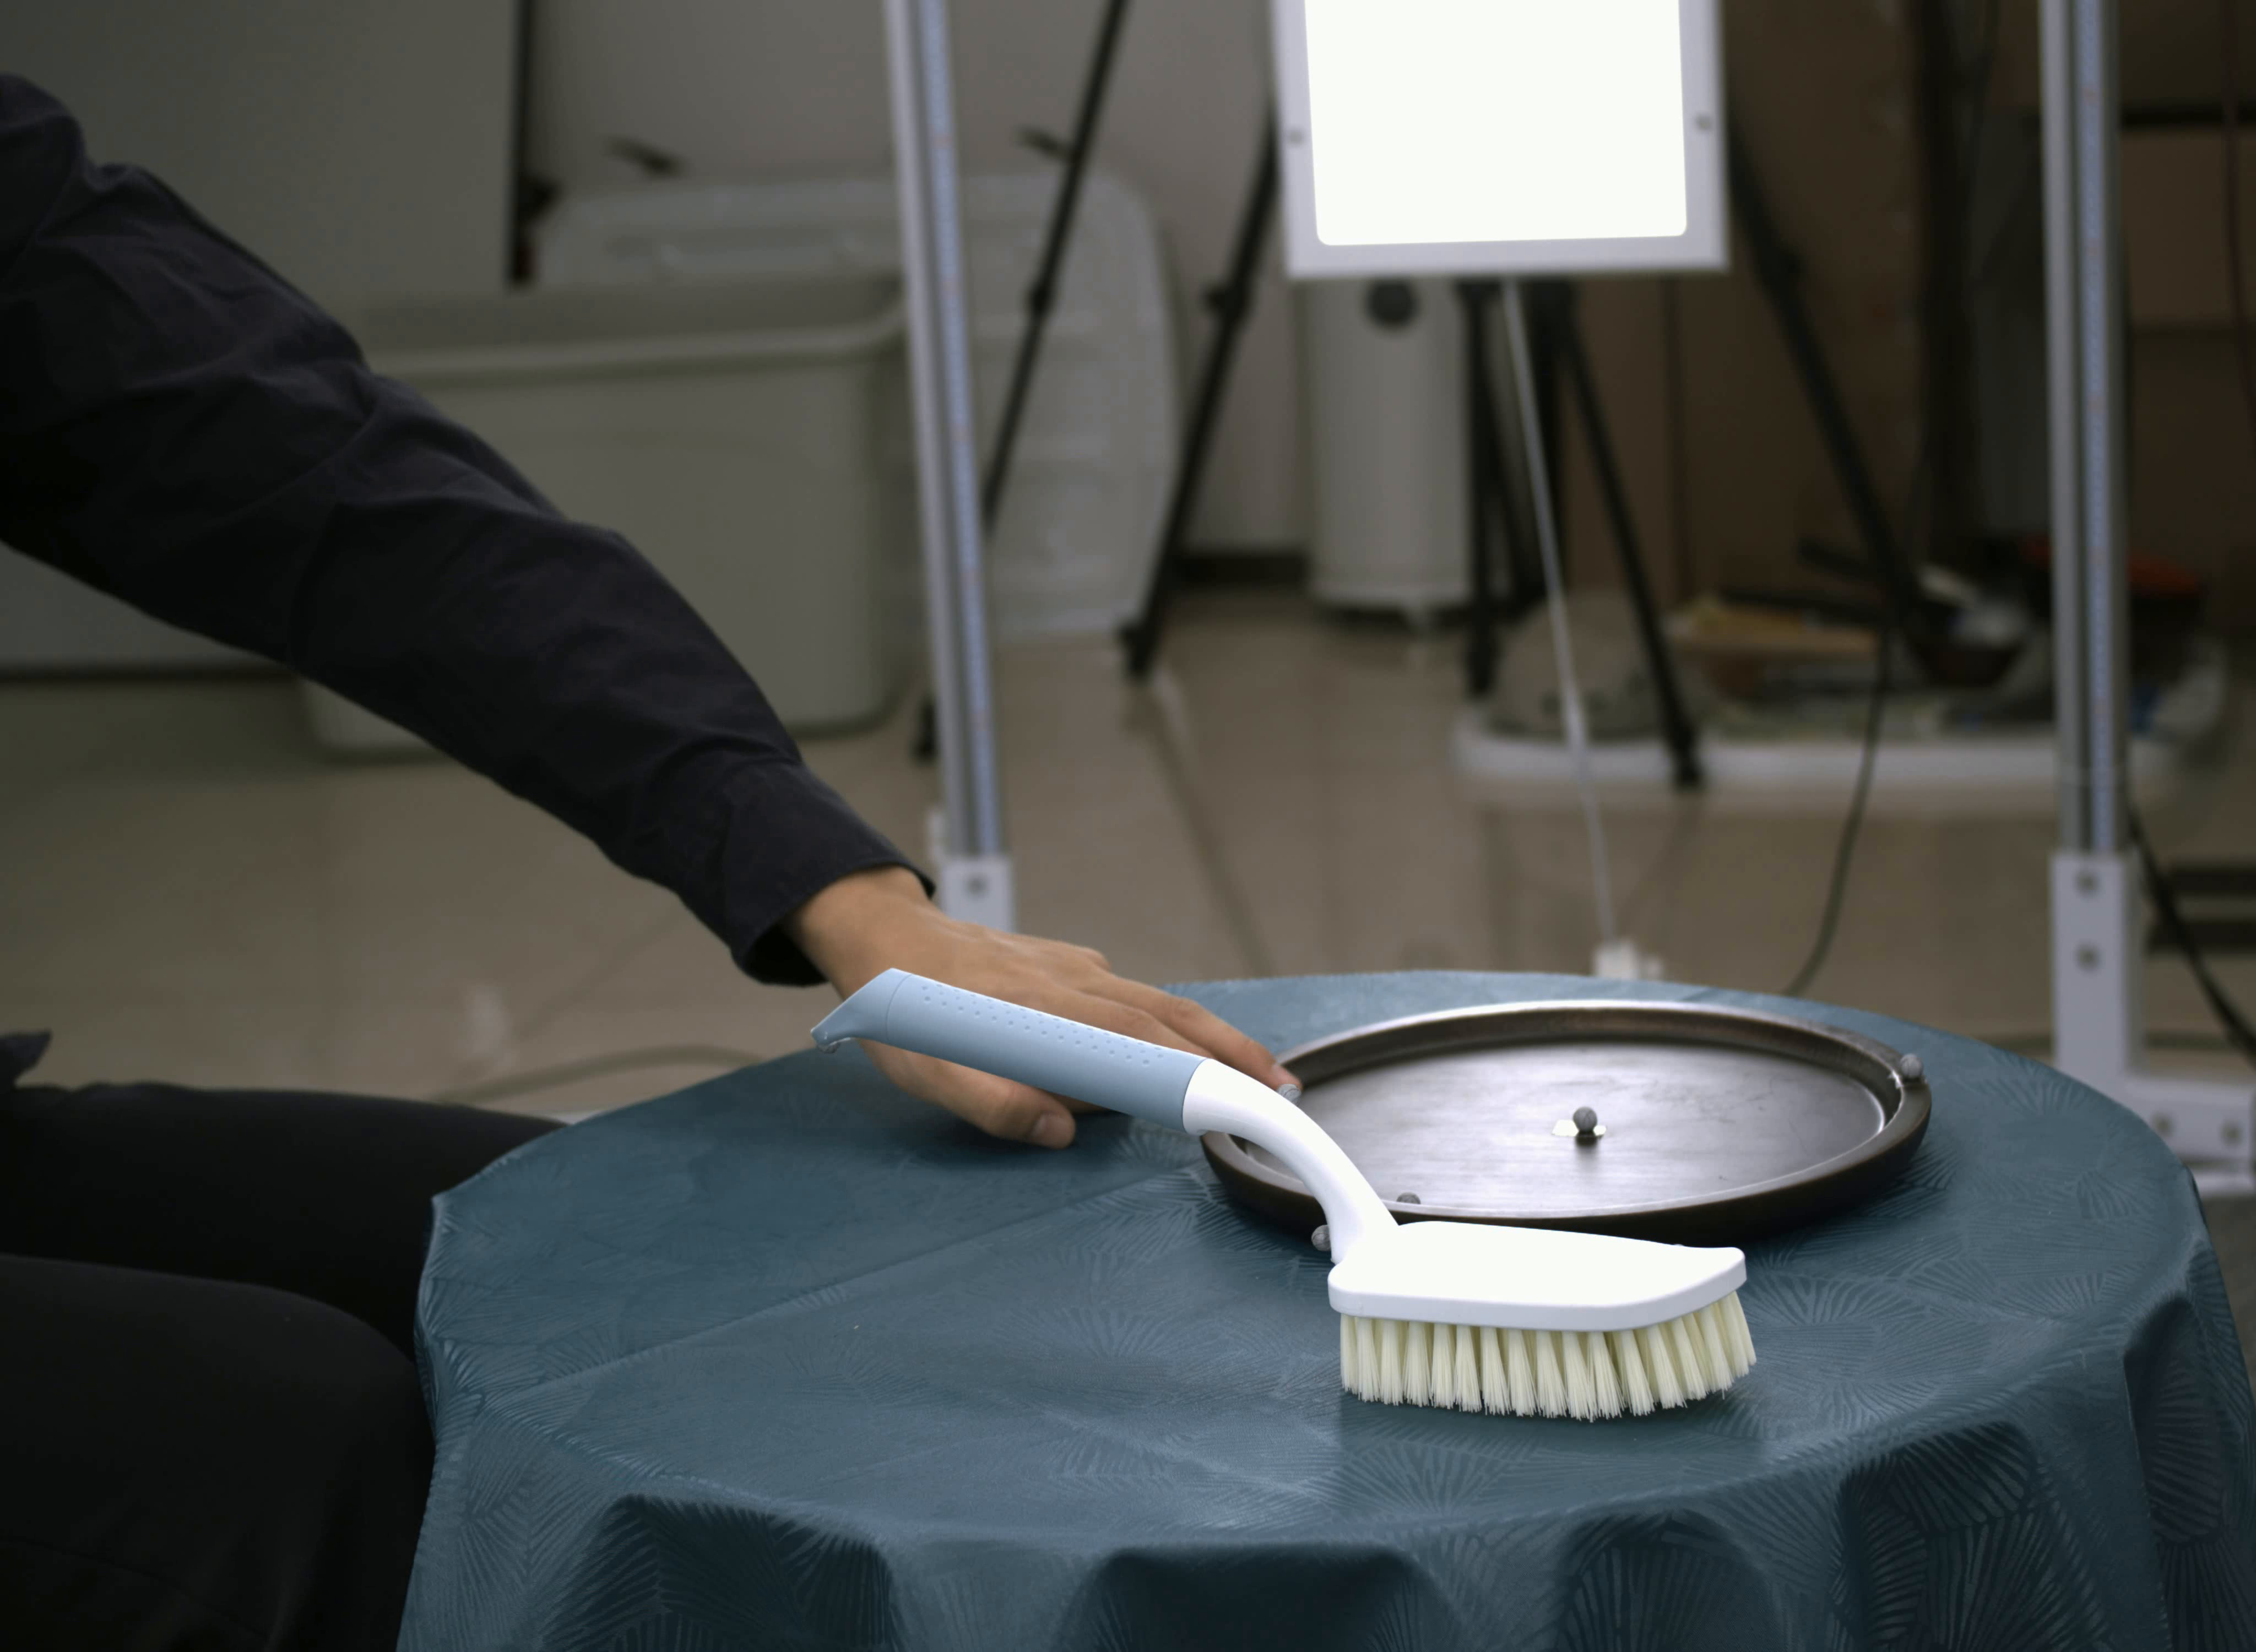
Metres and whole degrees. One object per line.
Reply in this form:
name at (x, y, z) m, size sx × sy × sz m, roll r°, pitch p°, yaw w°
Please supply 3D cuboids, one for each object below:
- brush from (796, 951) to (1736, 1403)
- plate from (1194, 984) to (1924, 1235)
brush at (0.037, 0.123, 1.721) m, size 0.330 × 0.084 × 0.082 m, roll 15°, pitch -16°, yaw 25°
plate at (0.149, 0.098, 1.902) m, size 0.254 × 0.029 × 0.254 m, roll -5°, pitch 16°, yaw 0°
